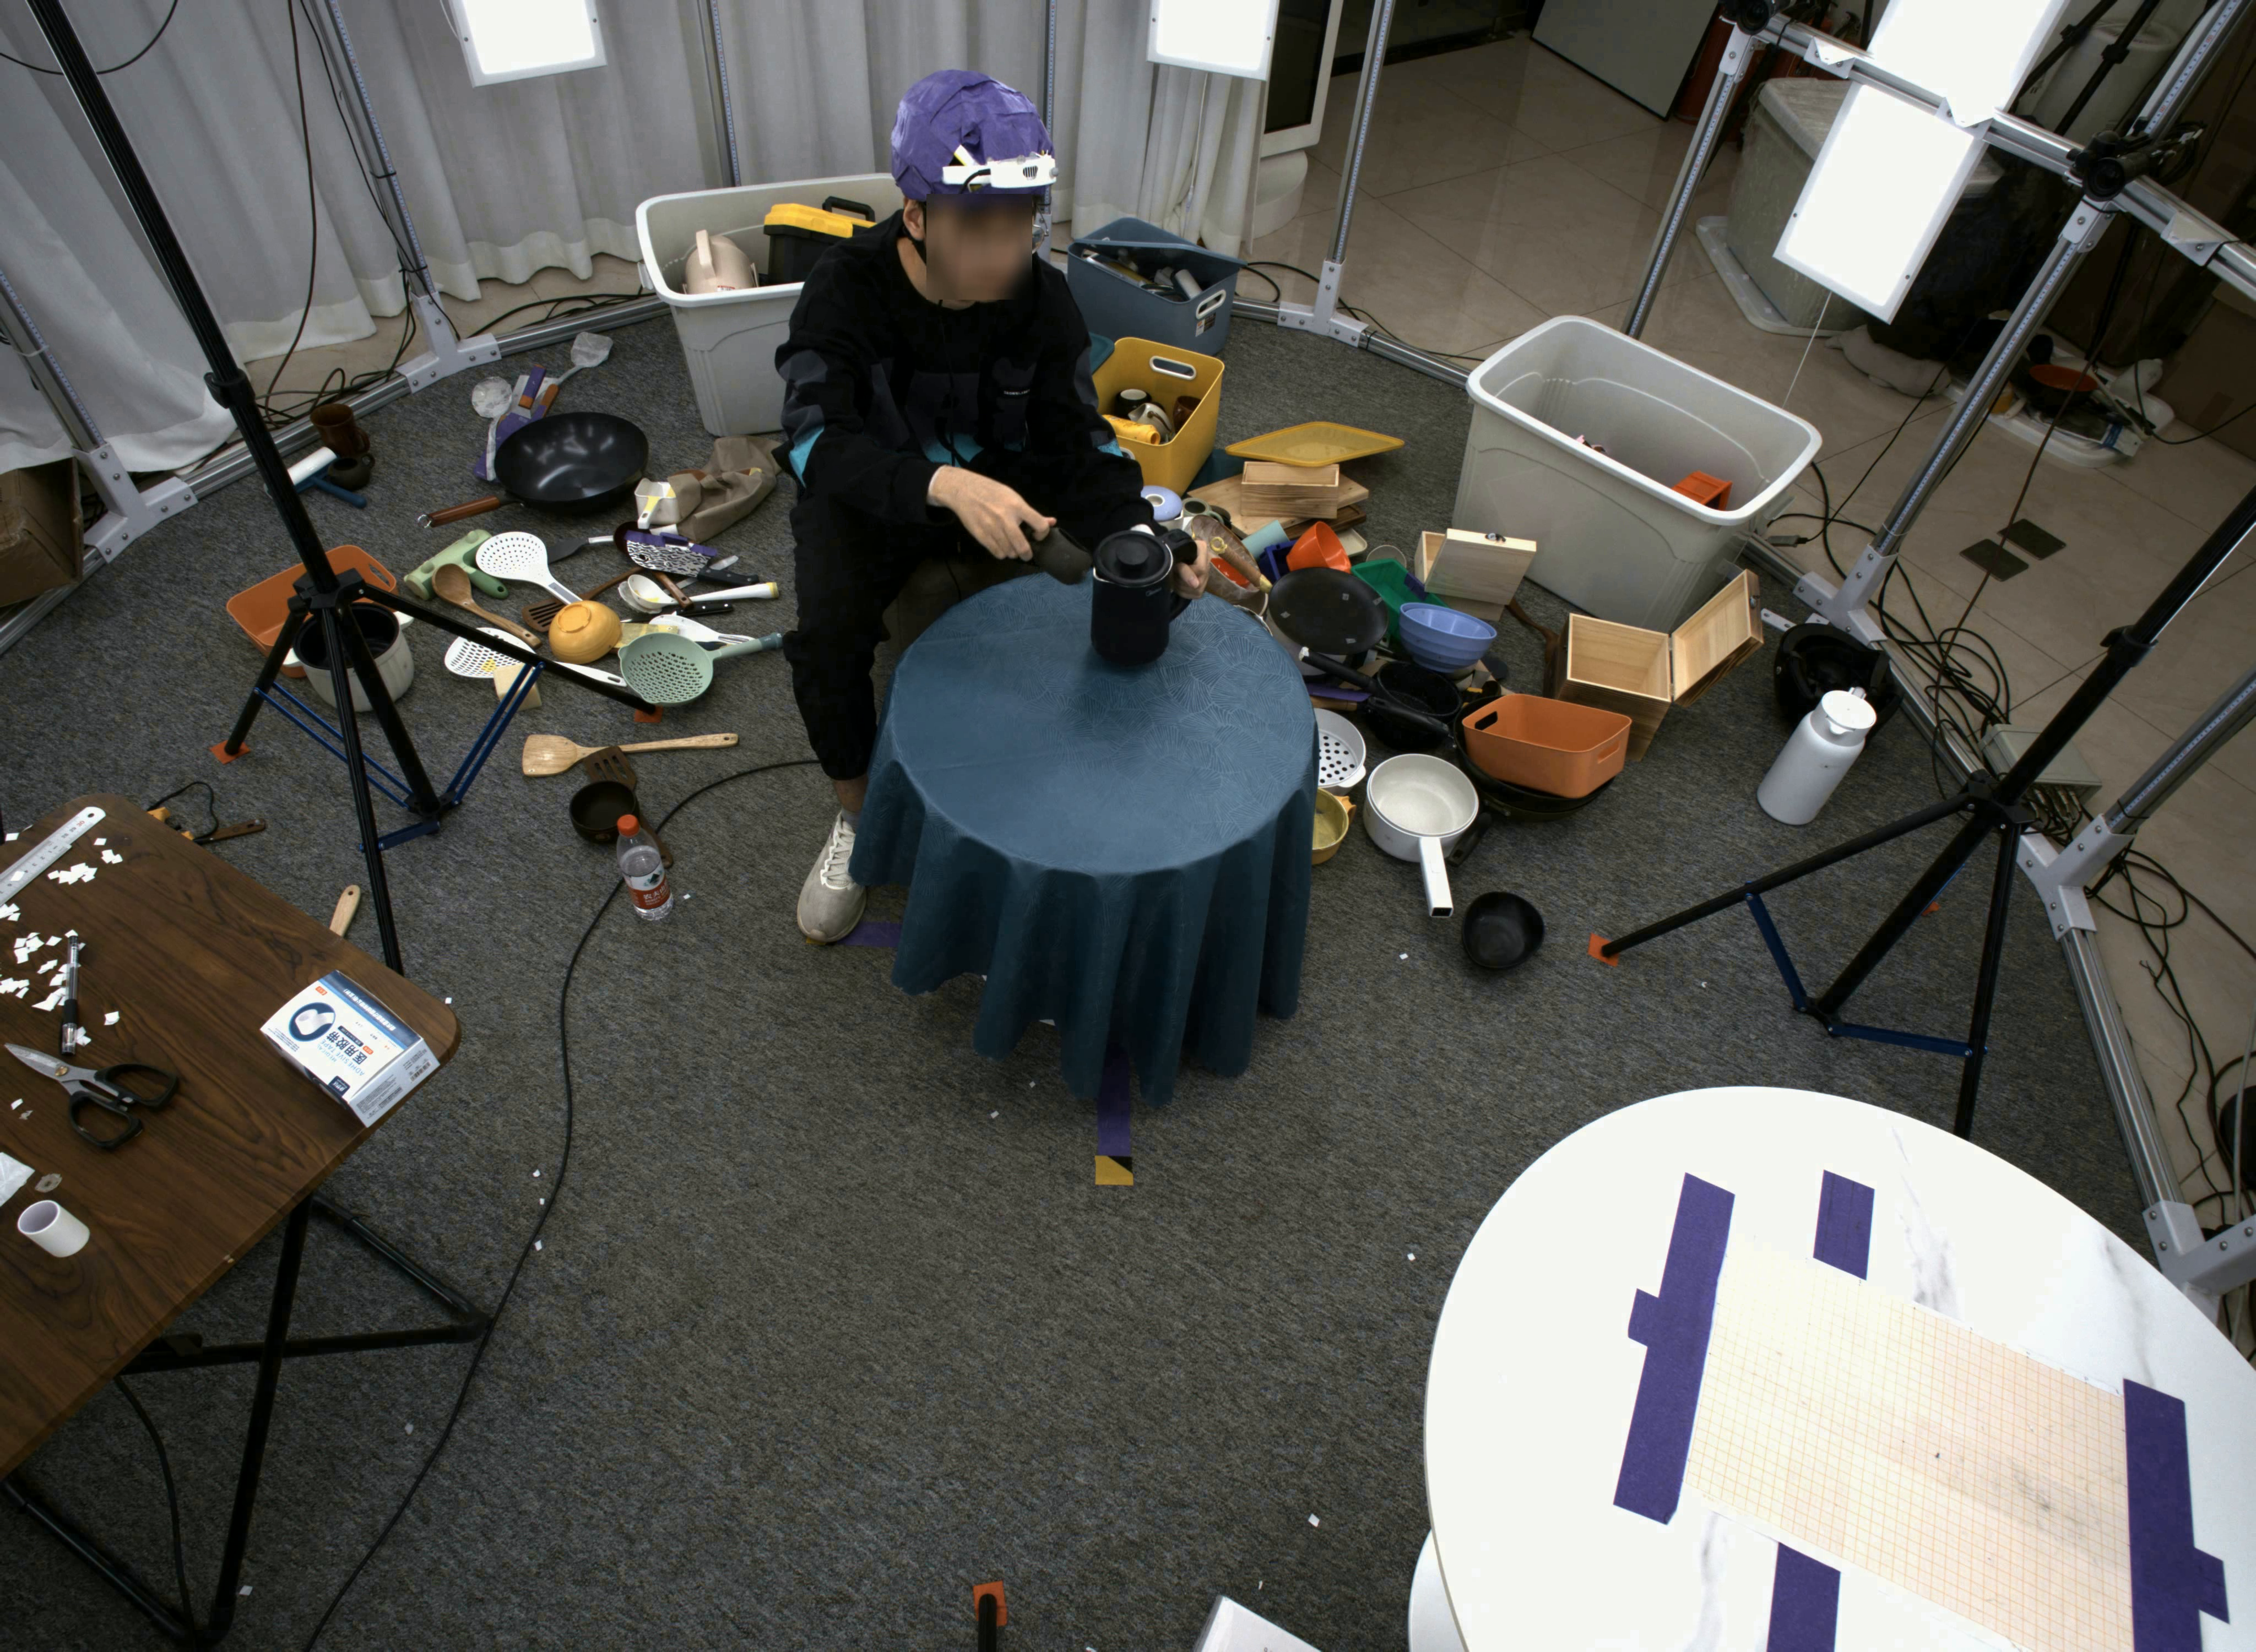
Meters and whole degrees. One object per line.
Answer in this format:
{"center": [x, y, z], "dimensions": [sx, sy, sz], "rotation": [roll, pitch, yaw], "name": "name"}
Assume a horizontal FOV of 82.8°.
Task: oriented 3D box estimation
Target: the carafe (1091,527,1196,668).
{"center": [0.023, -0.335, 1.814], "dimensions": [0.172, 0.169, 0.116], "rotation": [-33, 59, -20], "name": "carafe"}

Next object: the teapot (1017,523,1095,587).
{"center": [-0.095, -0.355, 1.672], "dimensions": [0.112, 0.052, 0.085], "rotation": [30, 19, -37], "name": "teapot"}
